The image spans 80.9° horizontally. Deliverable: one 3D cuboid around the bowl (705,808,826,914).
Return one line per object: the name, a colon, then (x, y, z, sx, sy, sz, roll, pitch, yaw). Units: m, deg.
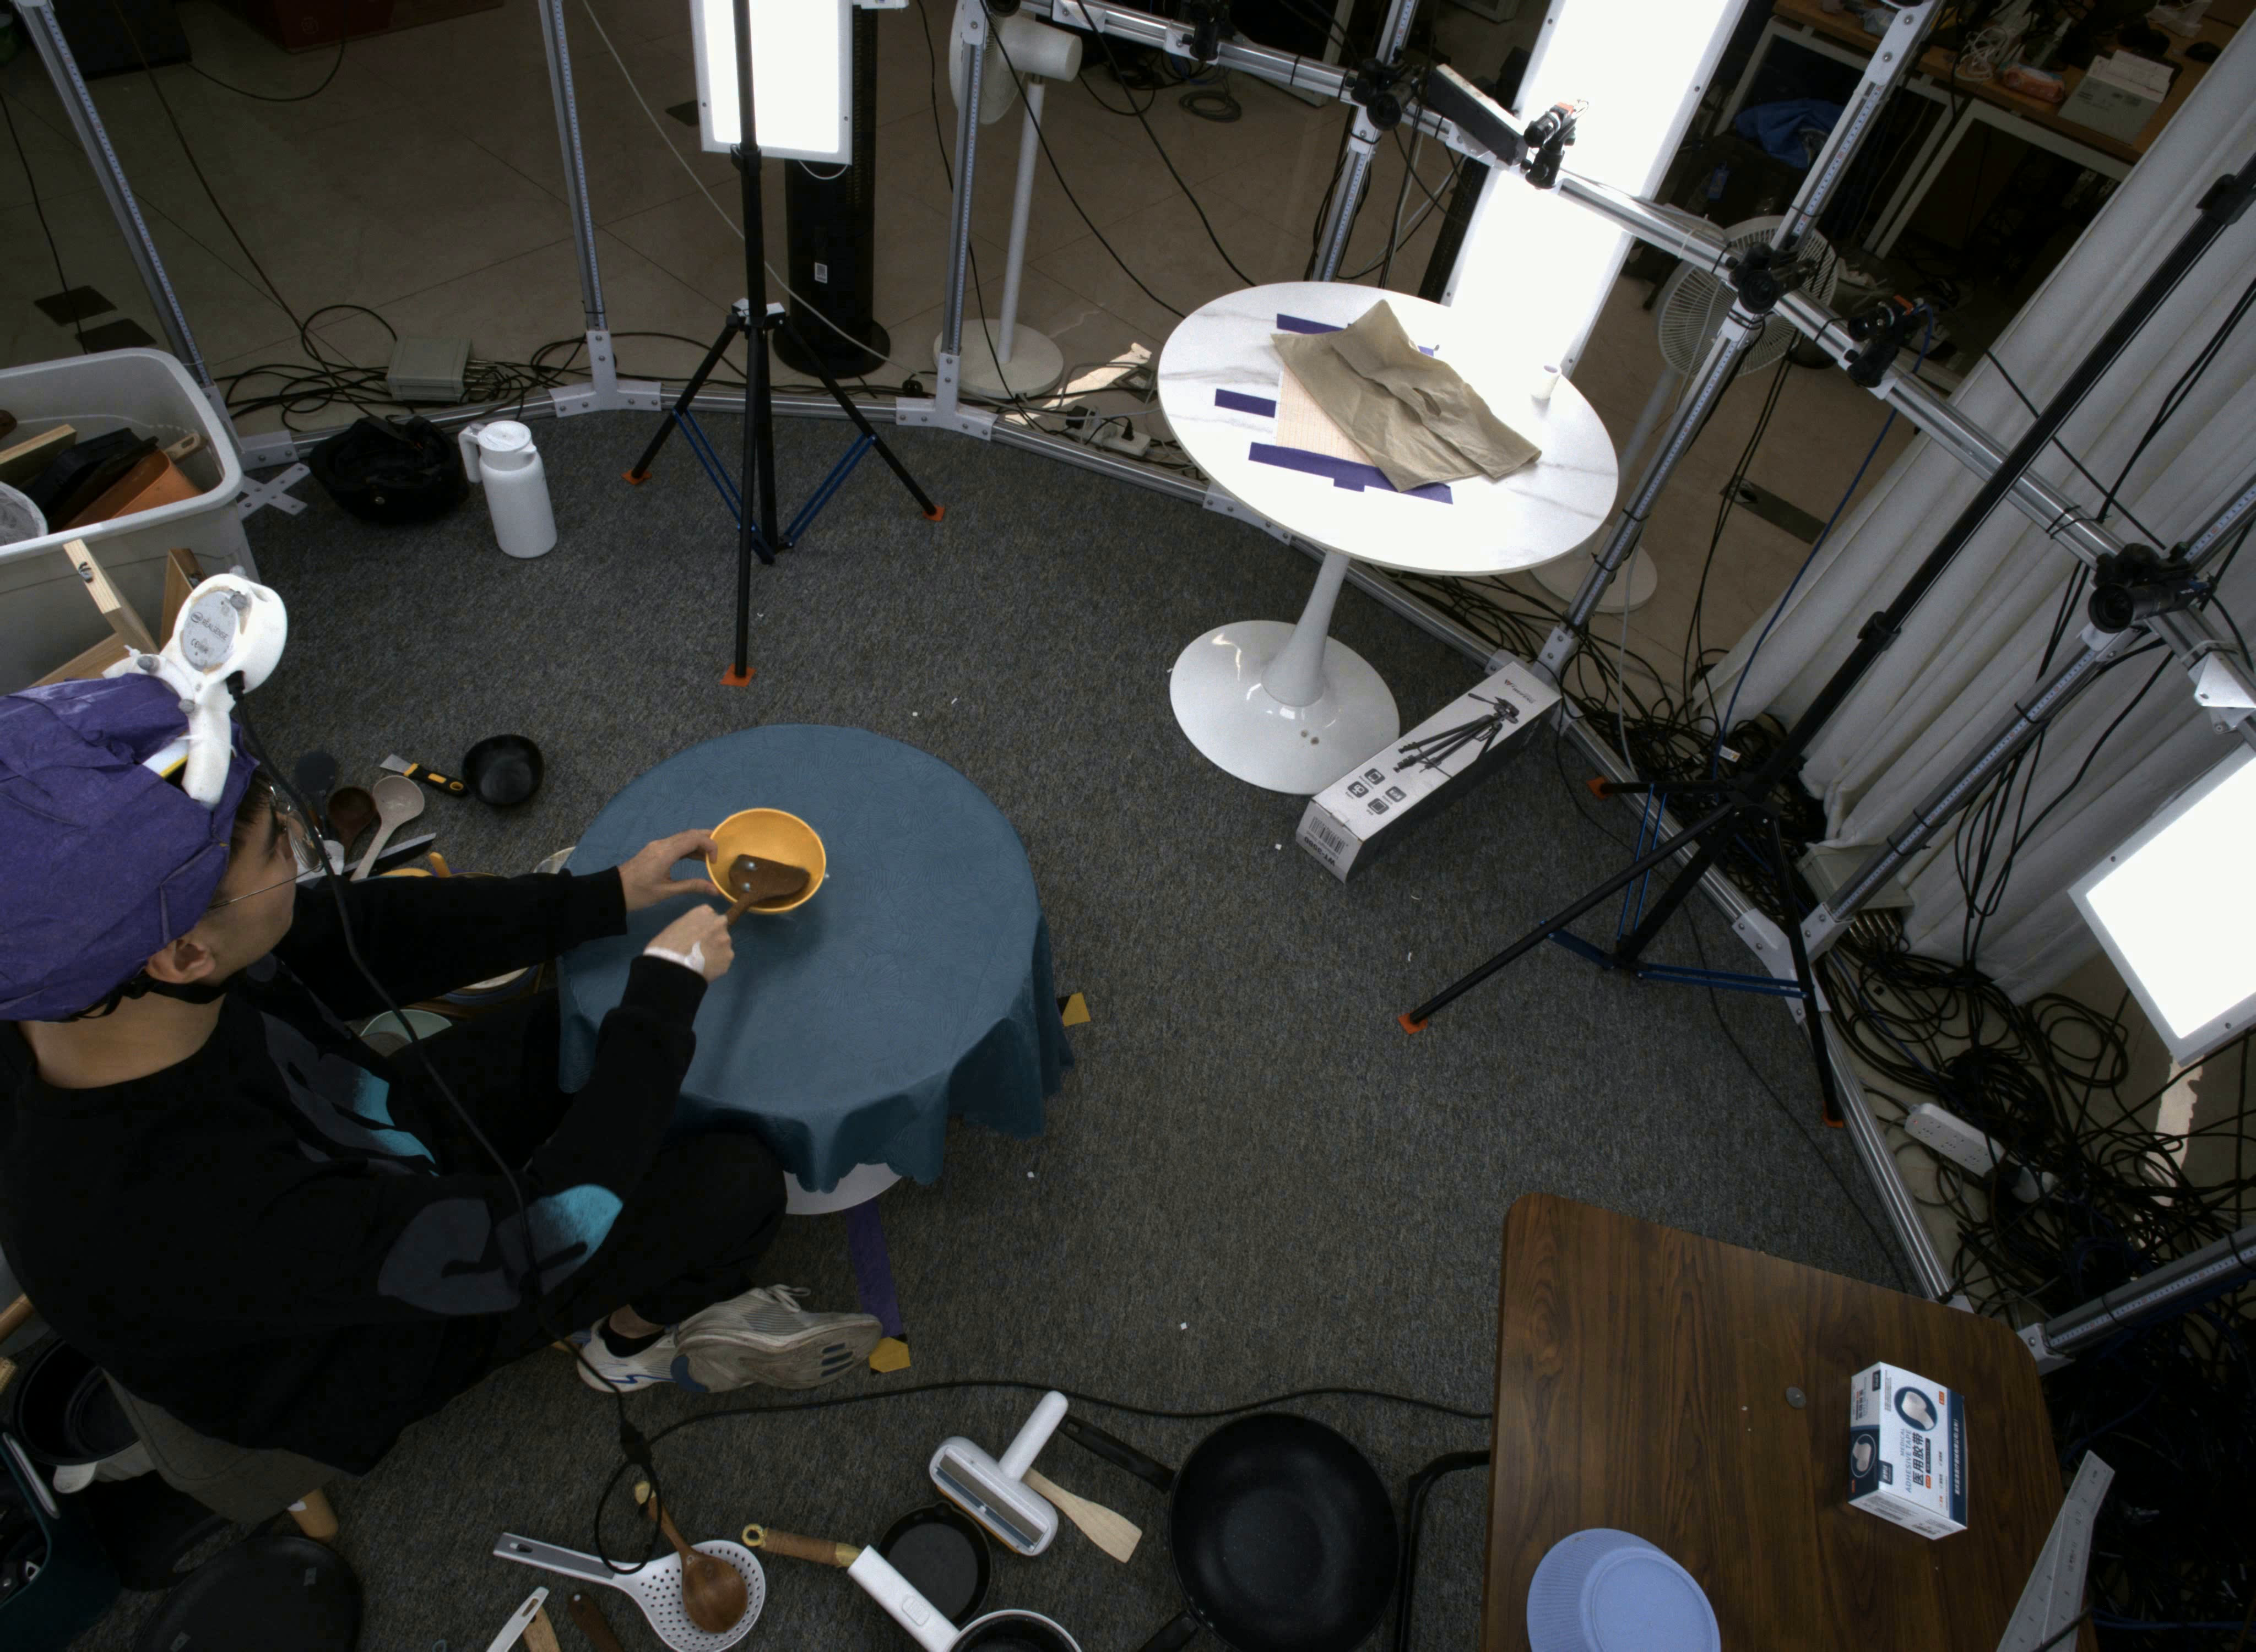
bowl: (-0.450, 0.053, 1.603, 0.146, 0.061, 0.143, 11, 56, -14)

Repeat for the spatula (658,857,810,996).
spatula: (-0.450, 0.104, 1.453, 0.095, 0.016, 0.380, 17, 17, -3)
